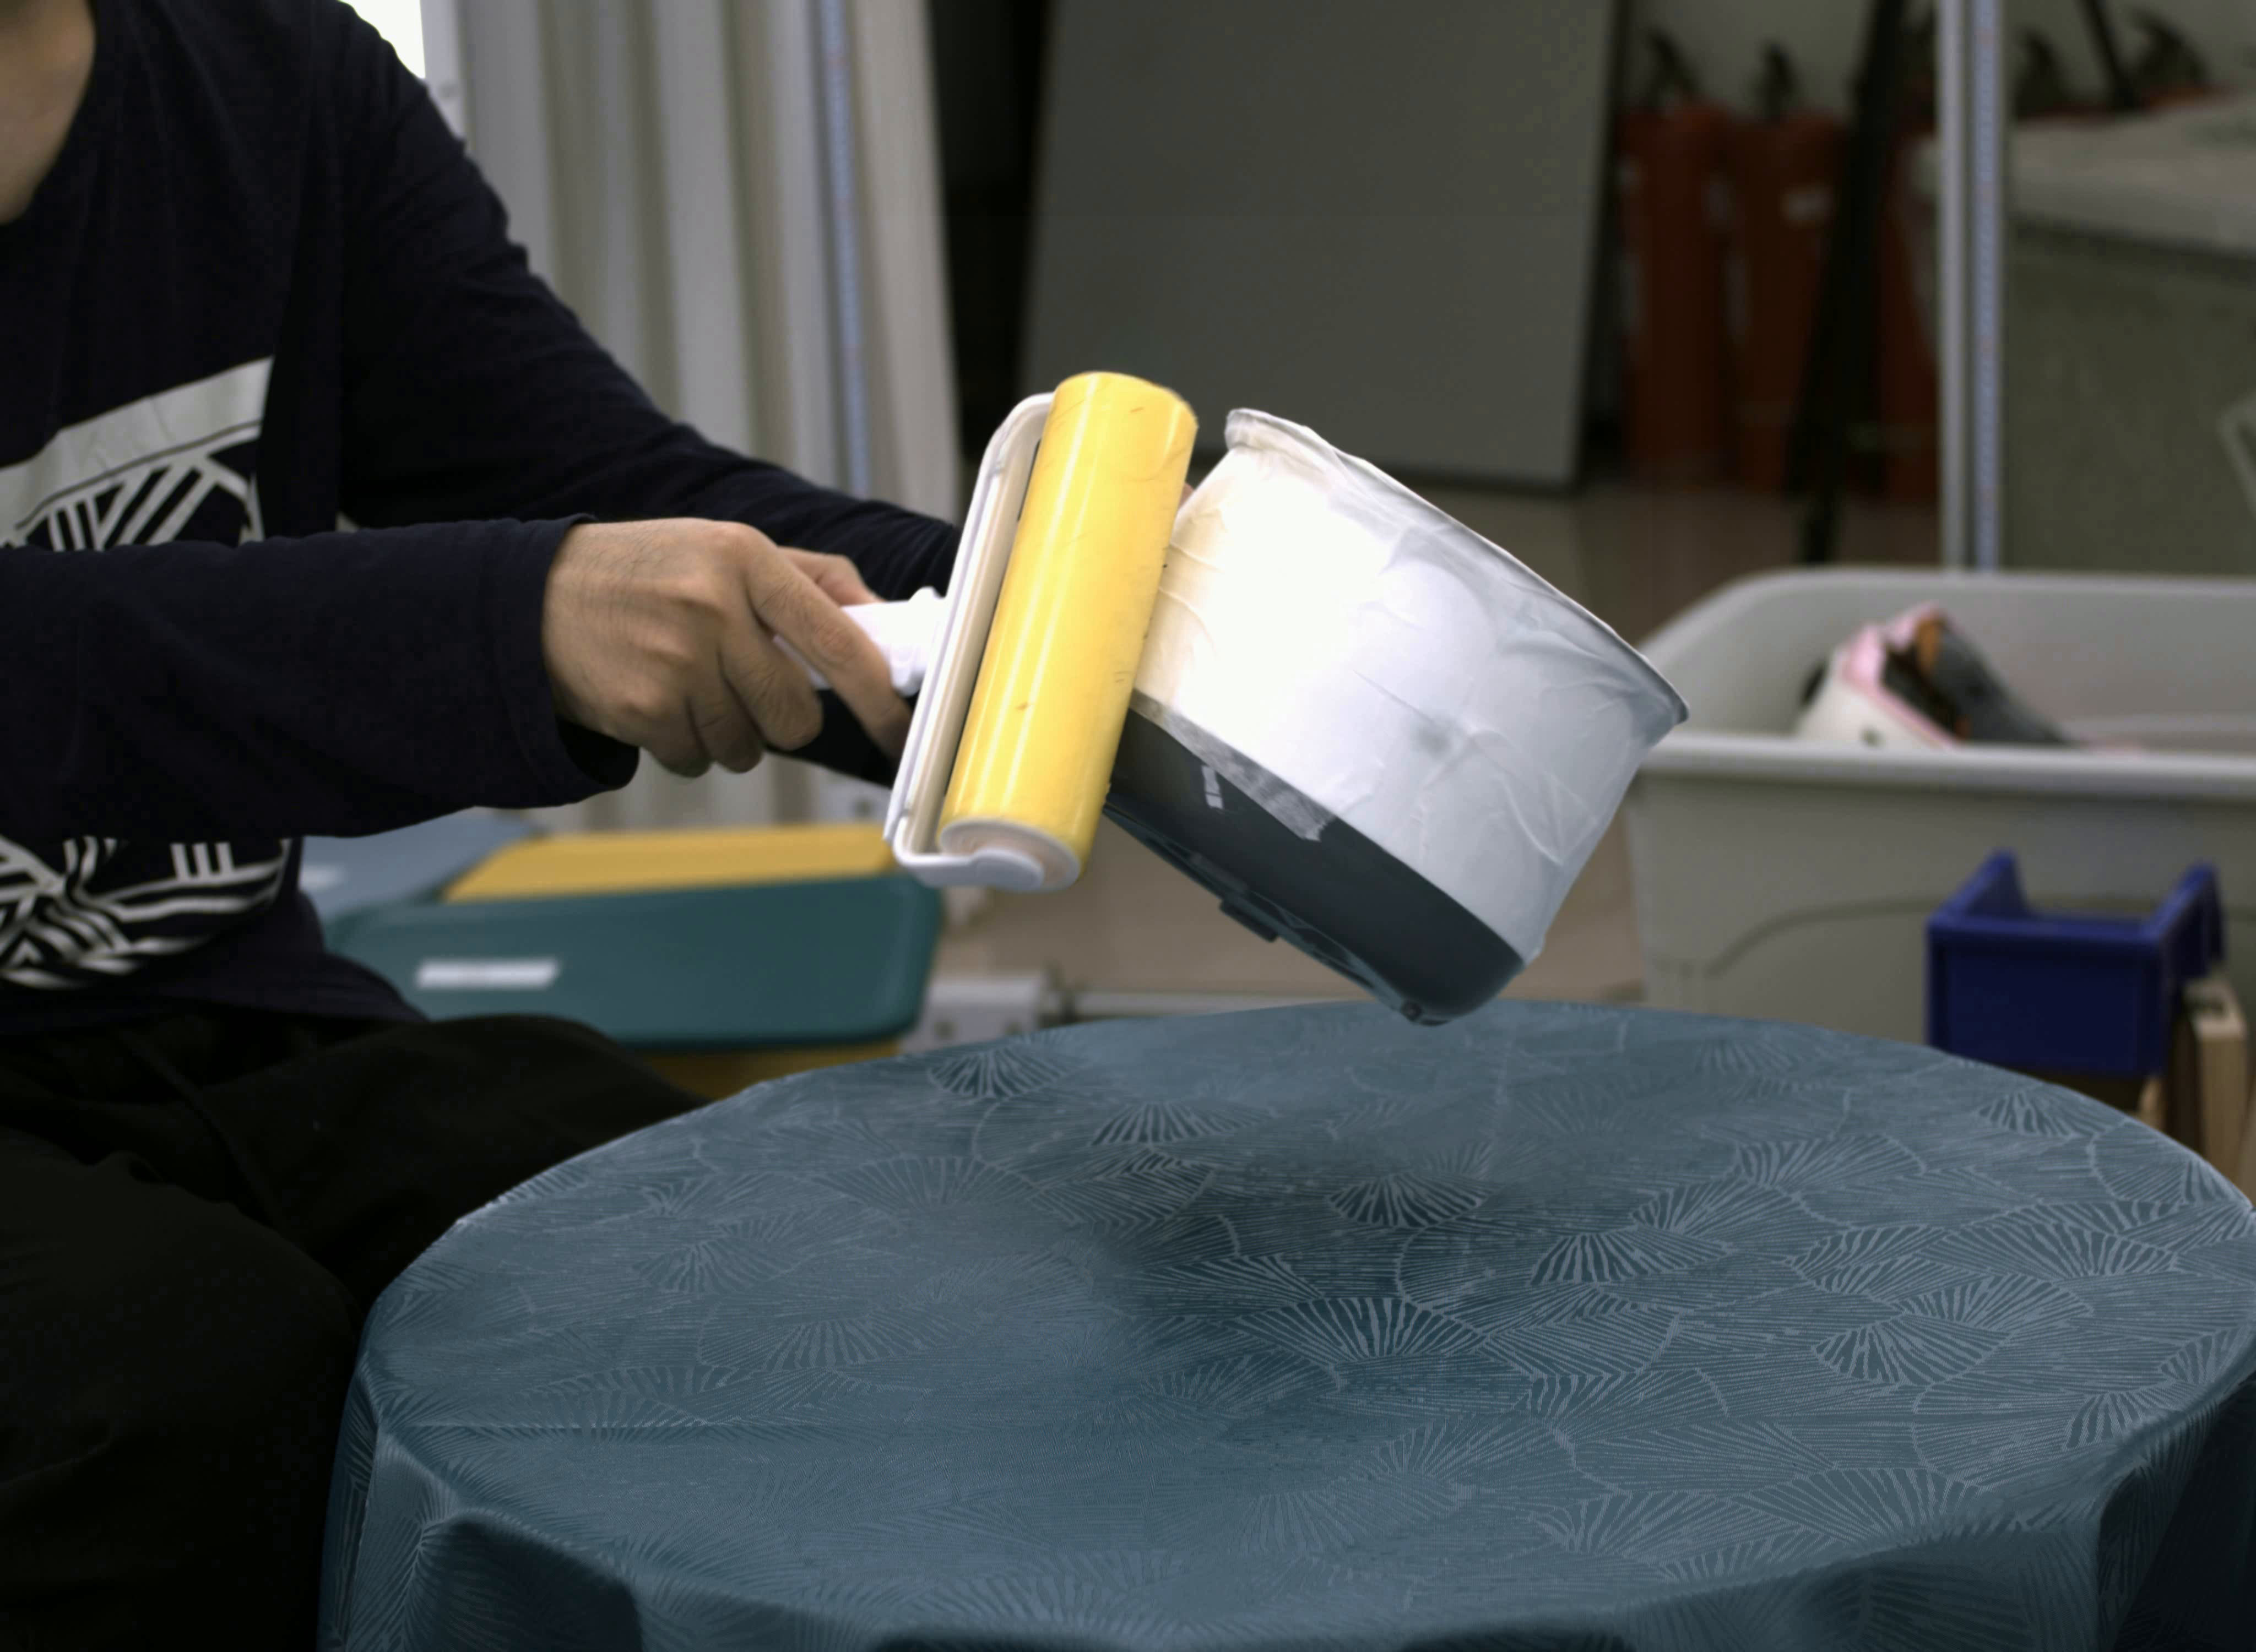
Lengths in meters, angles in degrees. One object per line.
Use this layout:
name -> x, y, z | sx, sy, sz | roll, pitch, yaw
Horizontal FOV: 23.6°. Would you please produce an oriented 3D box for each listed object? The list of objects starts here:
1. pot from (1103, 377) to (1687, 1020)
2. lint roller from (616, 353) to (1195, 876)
pot -> 0.056, -0.046, 1.734 | 0.176, 0.137, 0.236 | 39, -4, -37
lint roller -> -0.082, -0.062, 1.679 | 0.192, 0.051, 0.175 | -2, 57, 24
